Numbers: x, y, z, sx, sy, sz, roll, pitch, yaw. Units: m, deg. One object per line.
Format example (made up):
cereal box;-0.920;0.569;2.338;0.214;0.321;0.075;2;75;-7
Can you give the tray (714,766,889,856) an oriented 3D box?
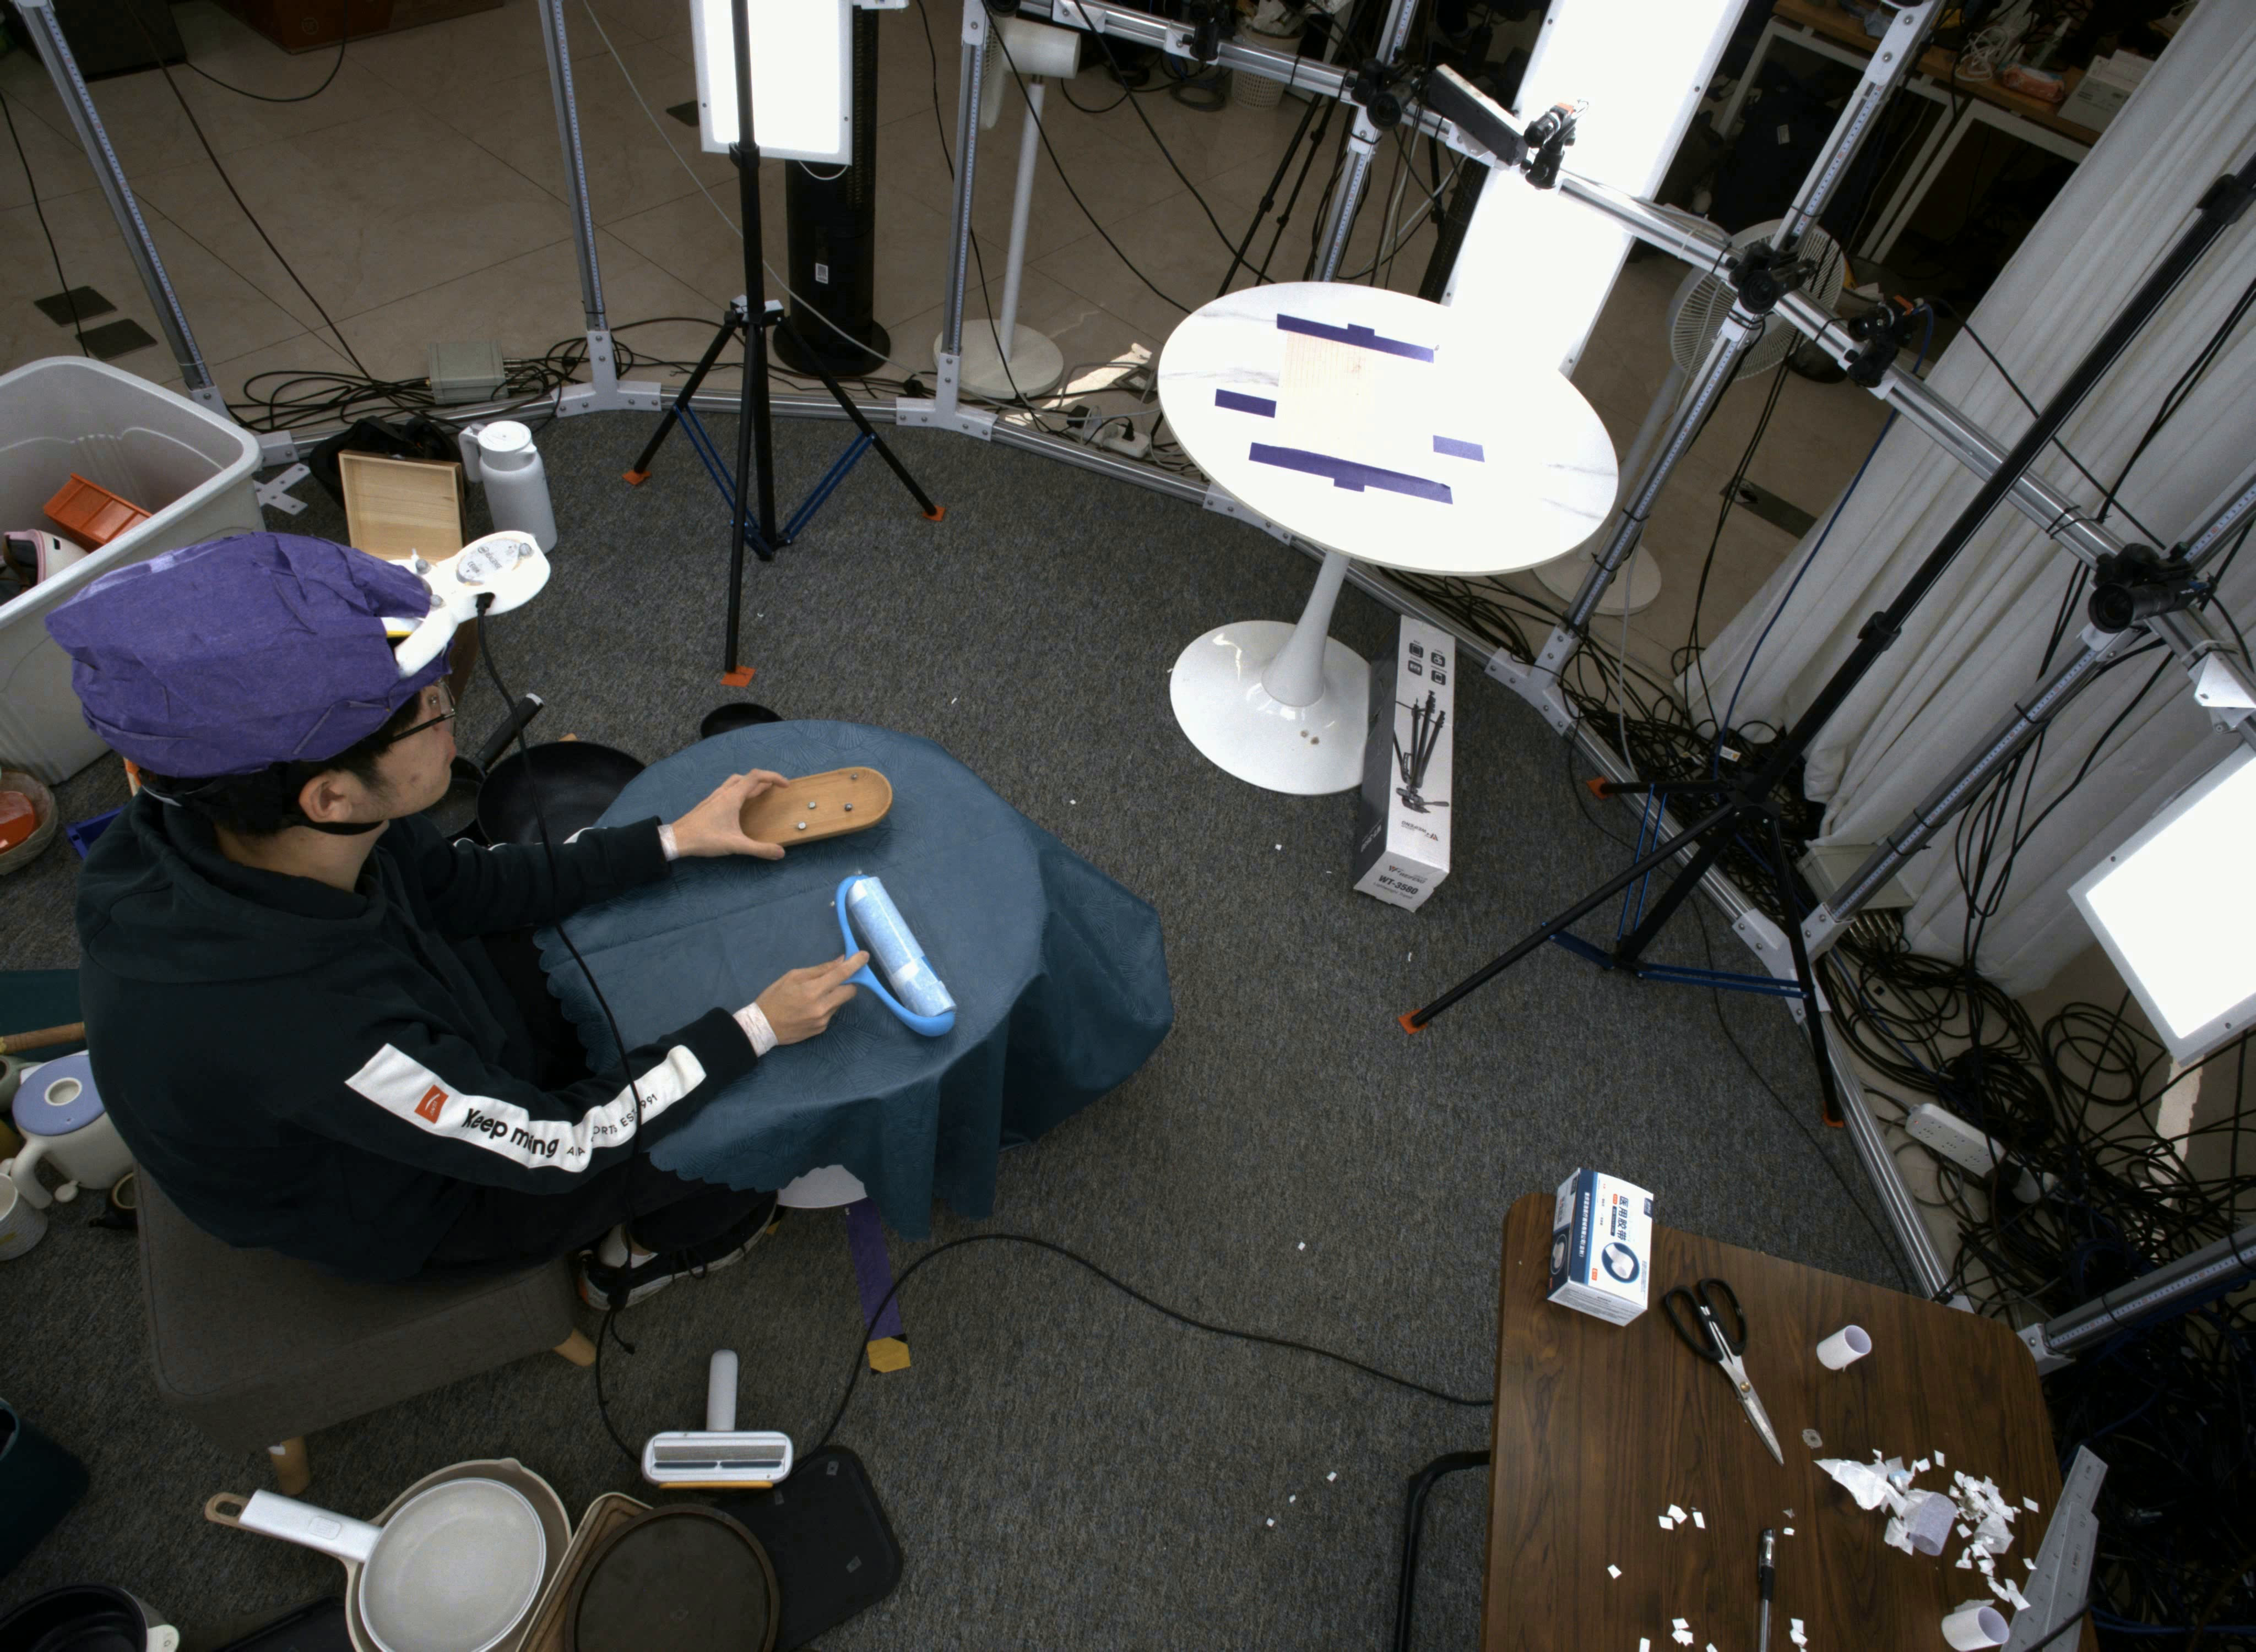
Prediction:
tray;-0.427;-0.021;1.700;0.230;0.021;0.099;-15;55;-10

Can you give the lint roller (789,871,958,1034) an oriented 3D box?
lint roller;-0.327;0.179;1.566;0.180;0.068;0.227;-33;82;-25
